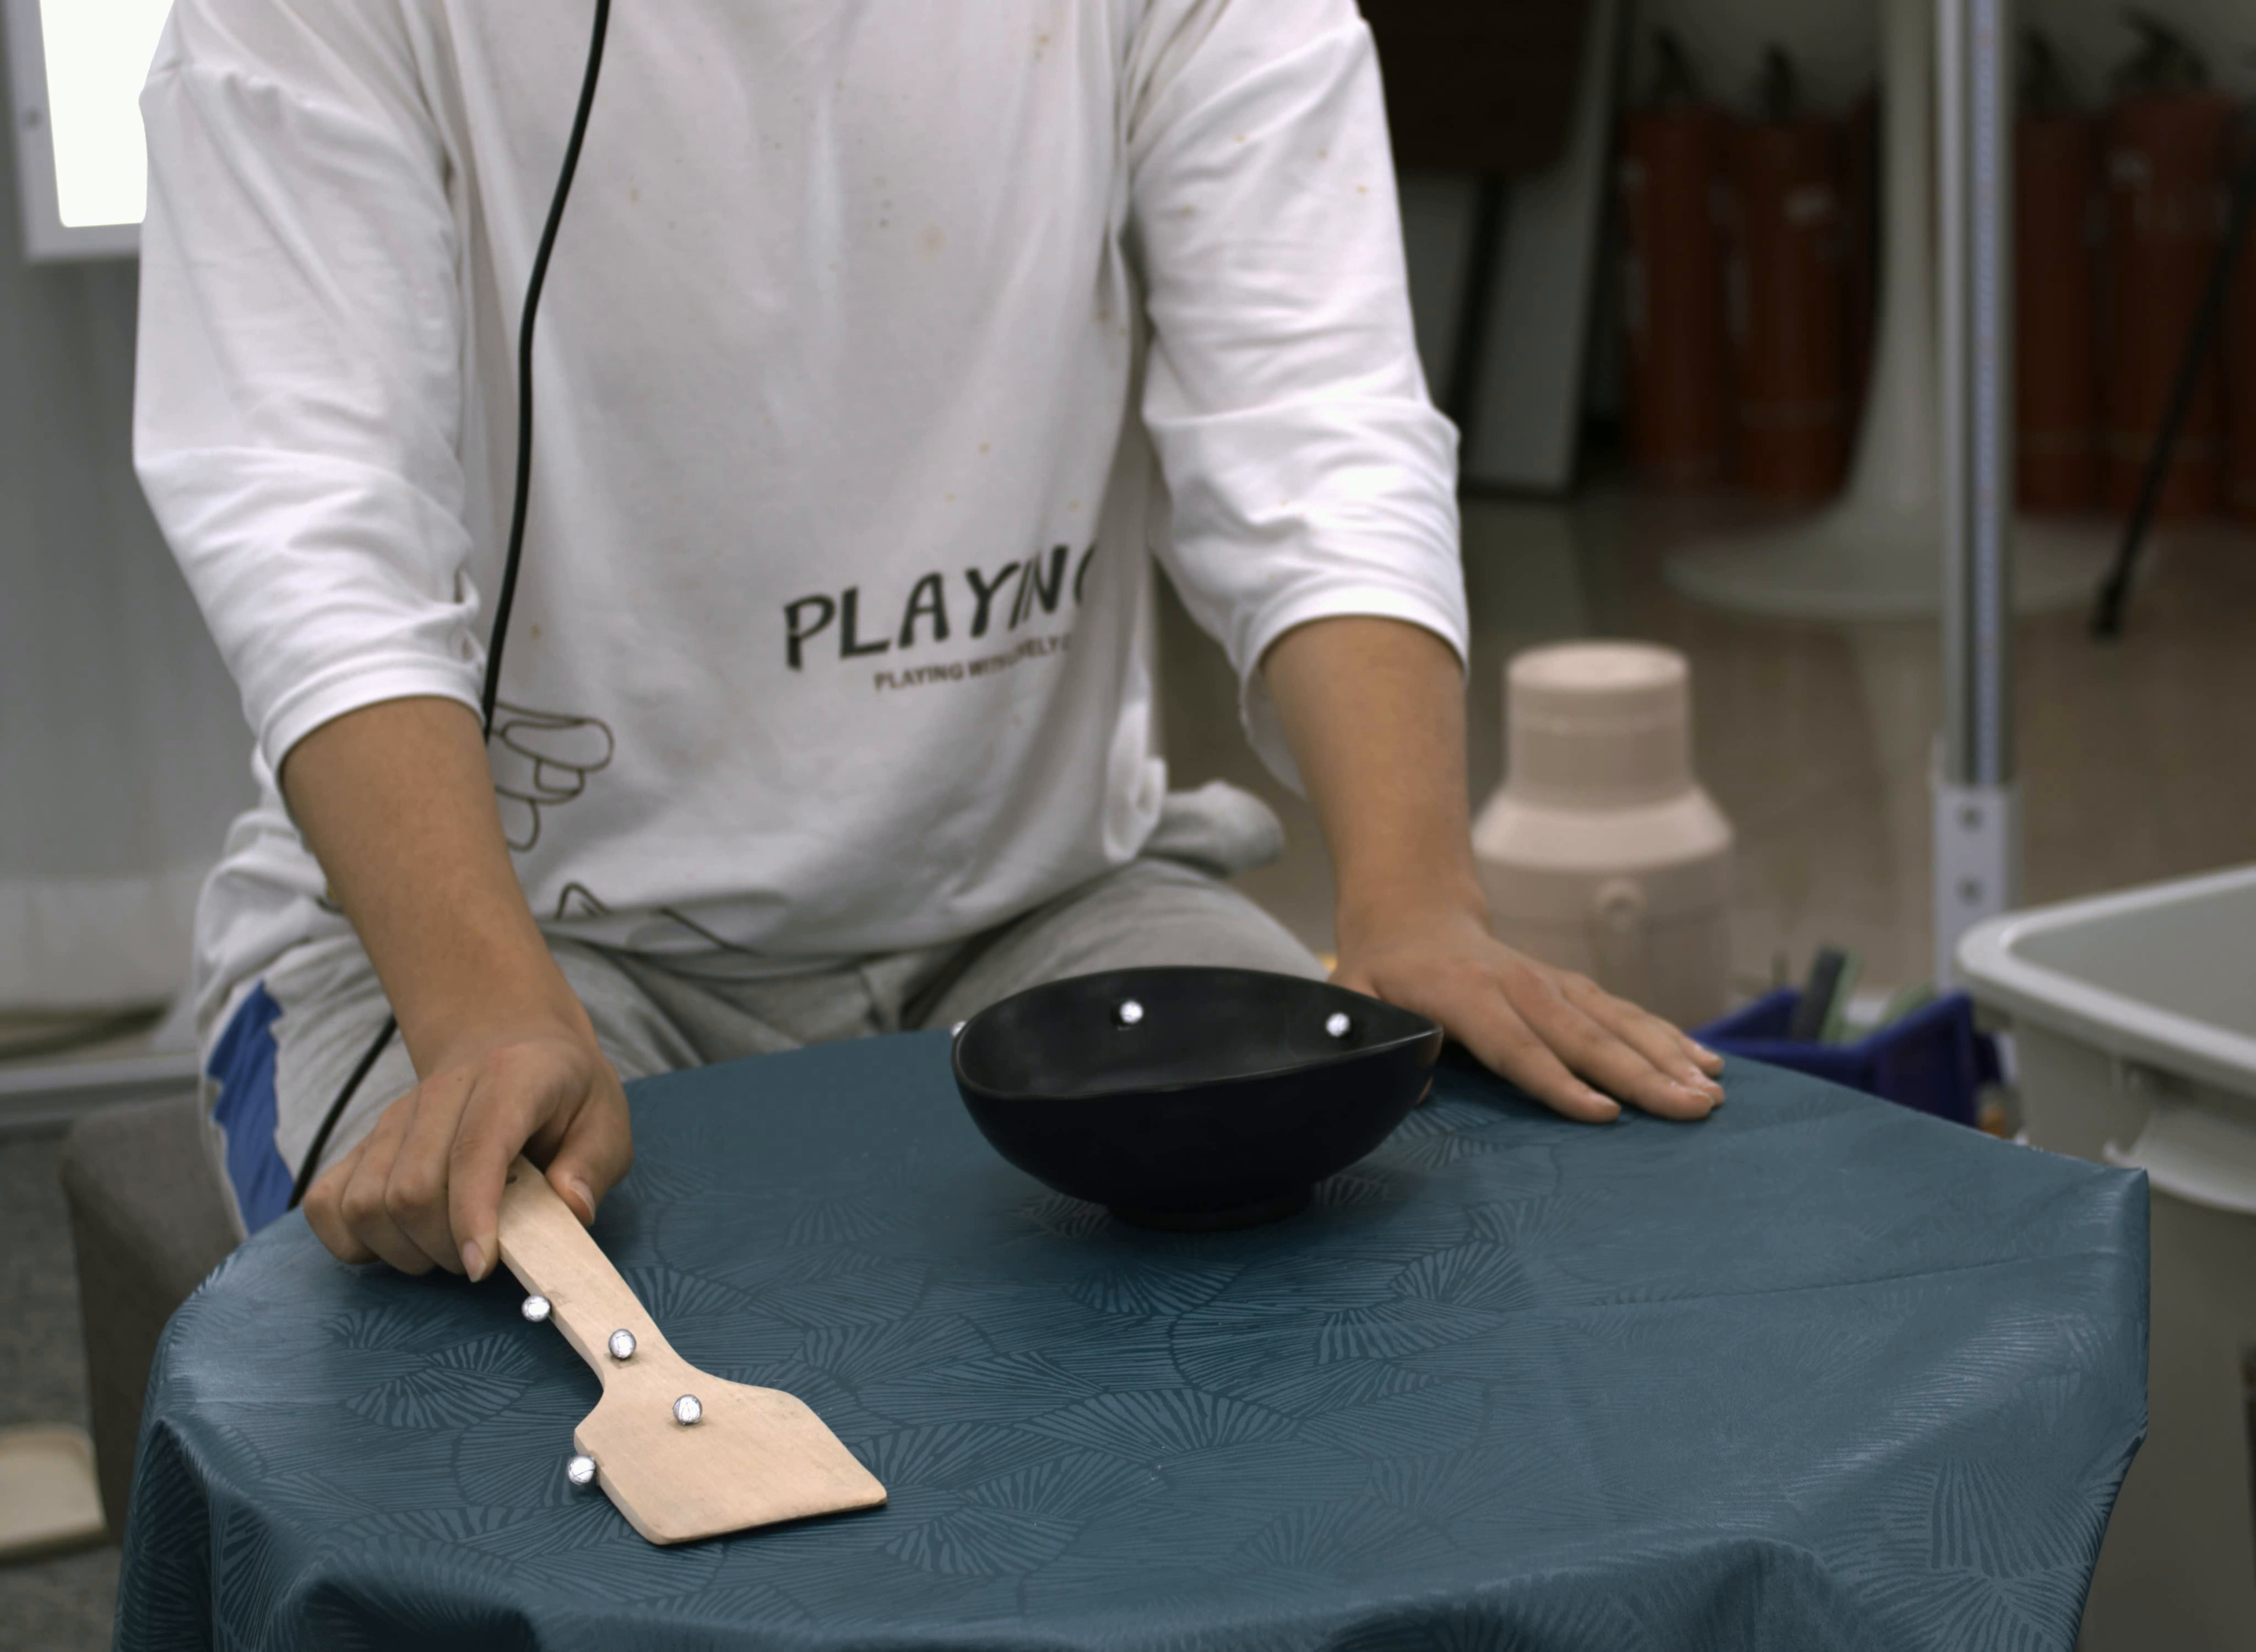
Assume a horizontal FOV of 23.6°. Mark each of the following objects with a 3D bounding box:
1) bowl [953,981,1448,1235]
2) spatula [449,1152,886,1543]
[{"bbox_3d":[0.024,0.093,1.751,0.166,0.067,0.139,-9,13,-29],"label":"bowl"},{"bbox_3d":[-0.154,0.152,1.623,0.071,0.011,0.296,-9,20,-21],"label":"spatula"}]
